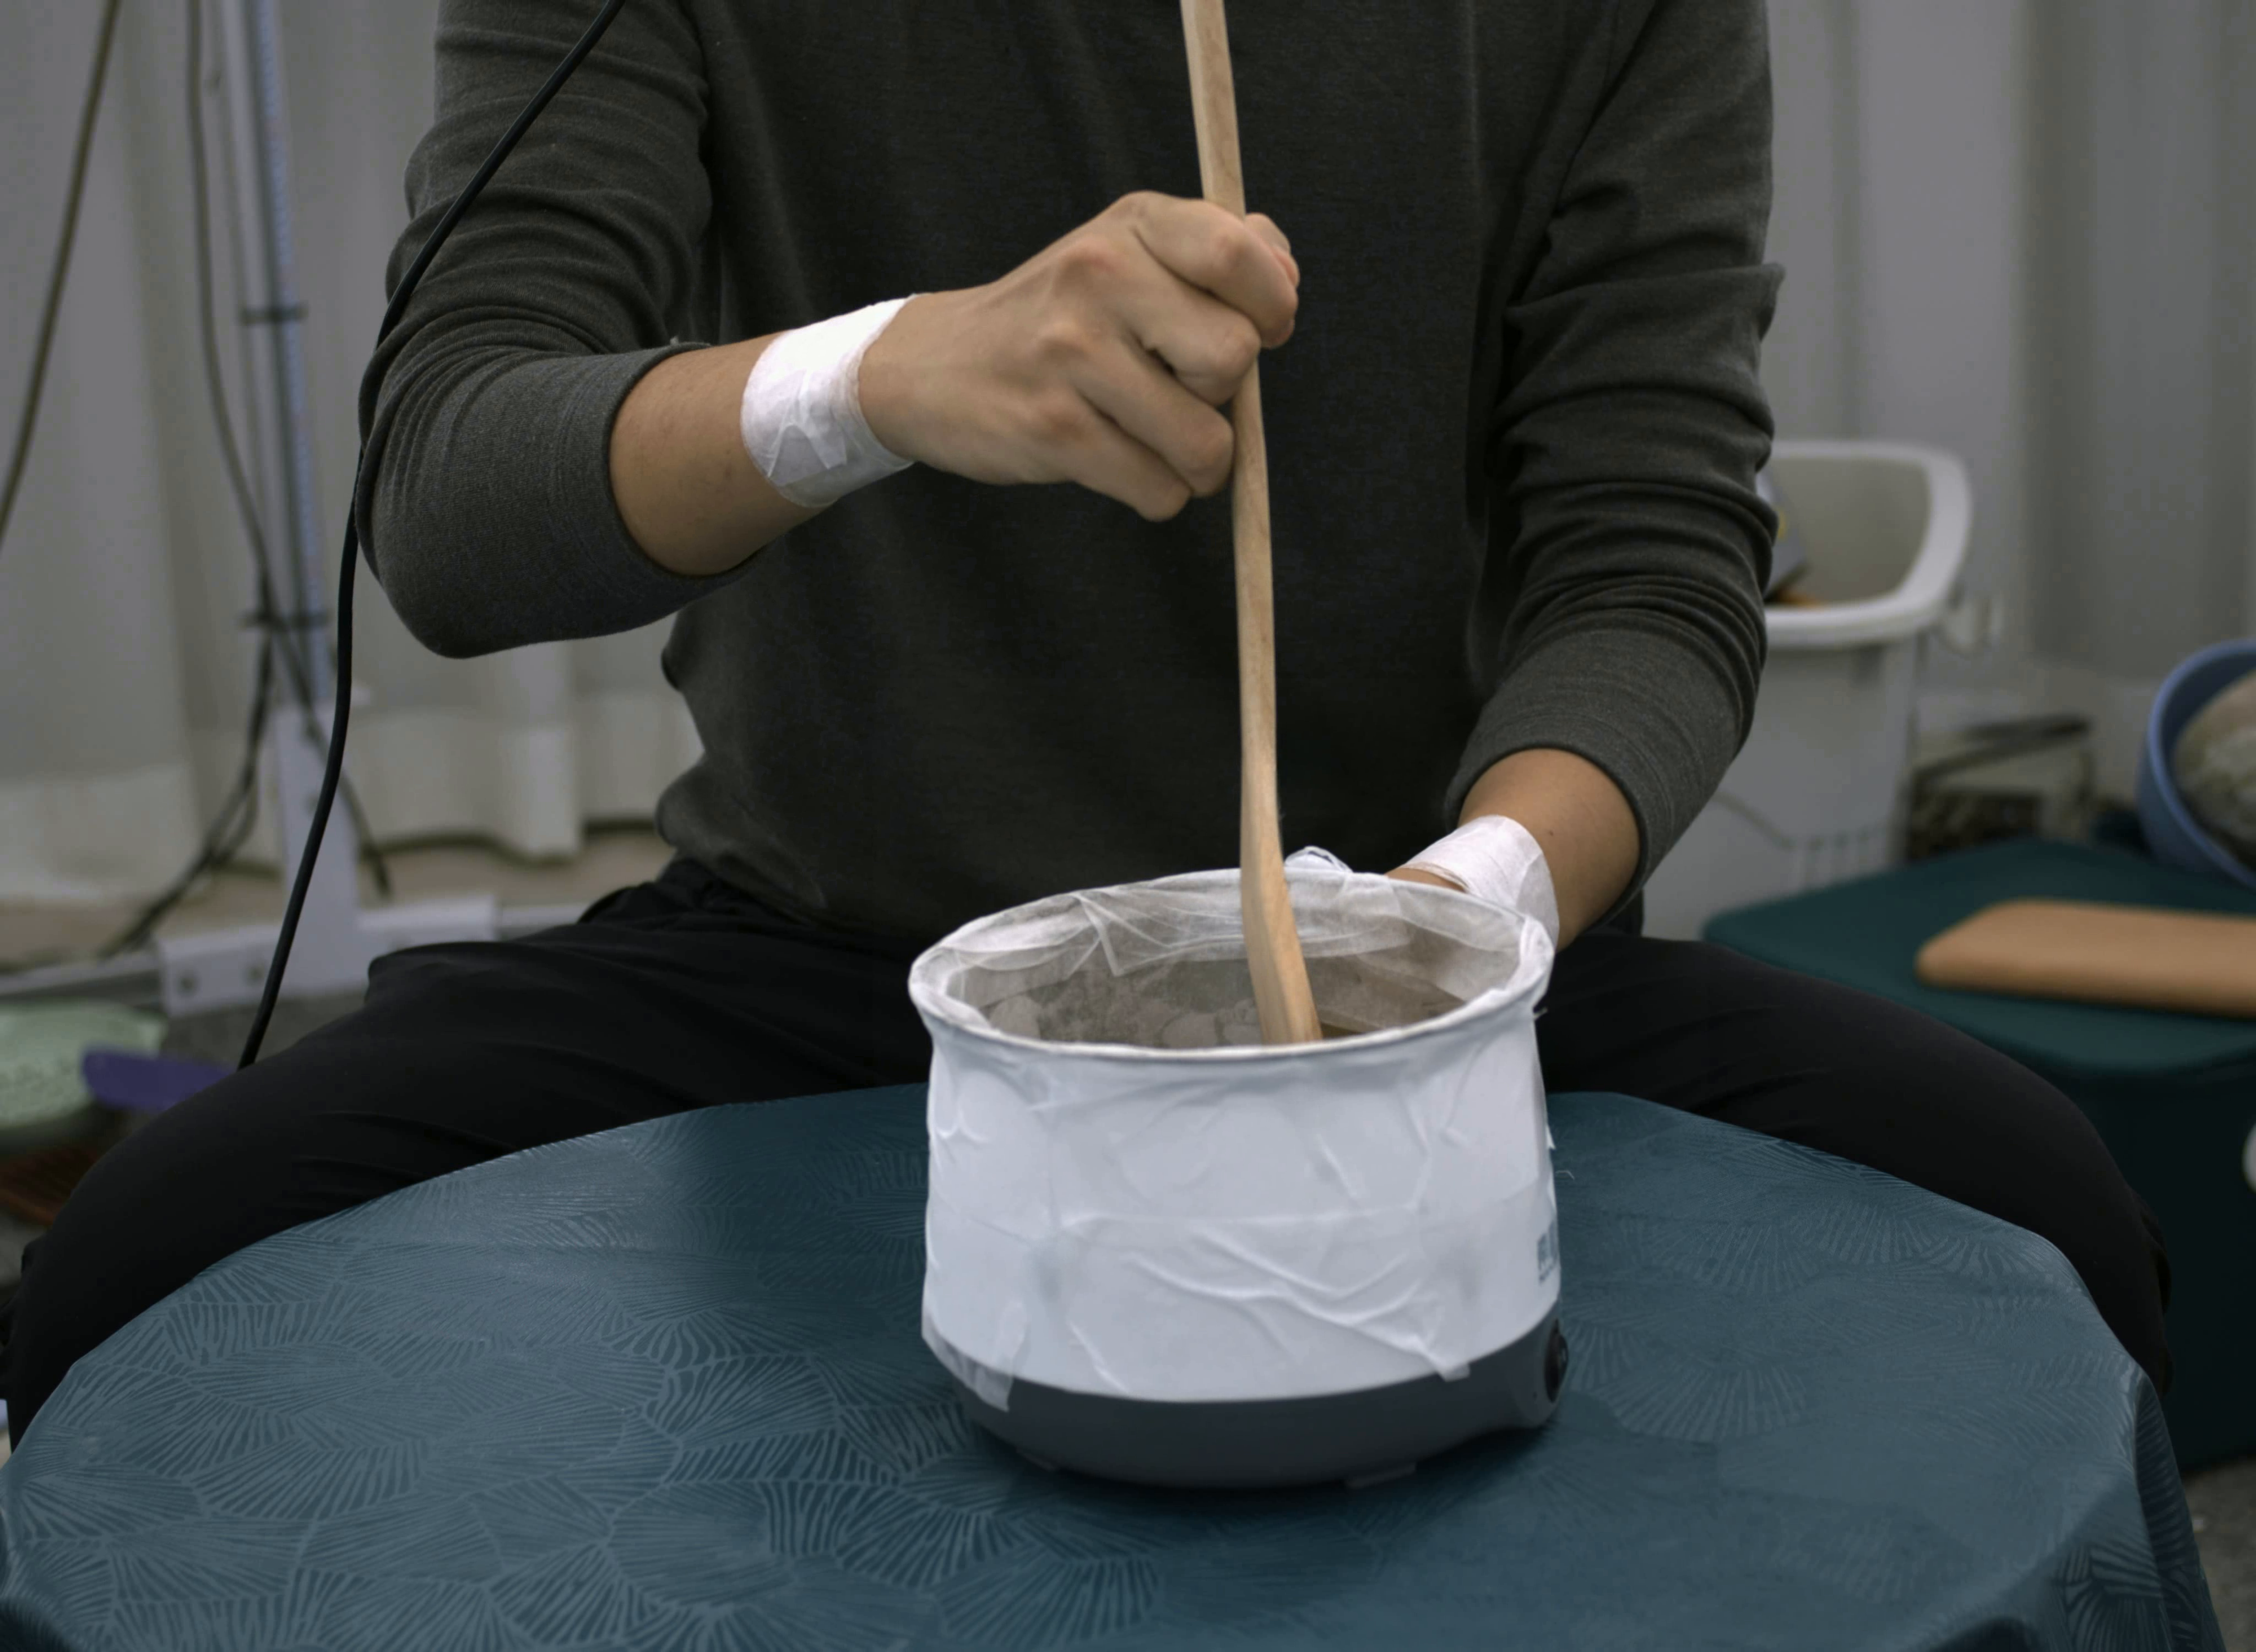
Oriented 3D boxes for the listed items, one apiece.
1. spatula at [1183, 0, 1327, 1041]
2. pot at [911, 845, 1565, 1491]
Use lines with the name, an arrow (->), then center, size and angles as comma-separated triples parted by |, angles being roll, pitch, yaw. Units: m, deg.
spatula -> 0.035, -0.086, 1.509 | 0.018, 0.390, 0.096 | -5, 8, -7
pot -> 0.038, 0.090, 1.538 | 0.178, 0.136, 0.235 | 1, 15, 14
